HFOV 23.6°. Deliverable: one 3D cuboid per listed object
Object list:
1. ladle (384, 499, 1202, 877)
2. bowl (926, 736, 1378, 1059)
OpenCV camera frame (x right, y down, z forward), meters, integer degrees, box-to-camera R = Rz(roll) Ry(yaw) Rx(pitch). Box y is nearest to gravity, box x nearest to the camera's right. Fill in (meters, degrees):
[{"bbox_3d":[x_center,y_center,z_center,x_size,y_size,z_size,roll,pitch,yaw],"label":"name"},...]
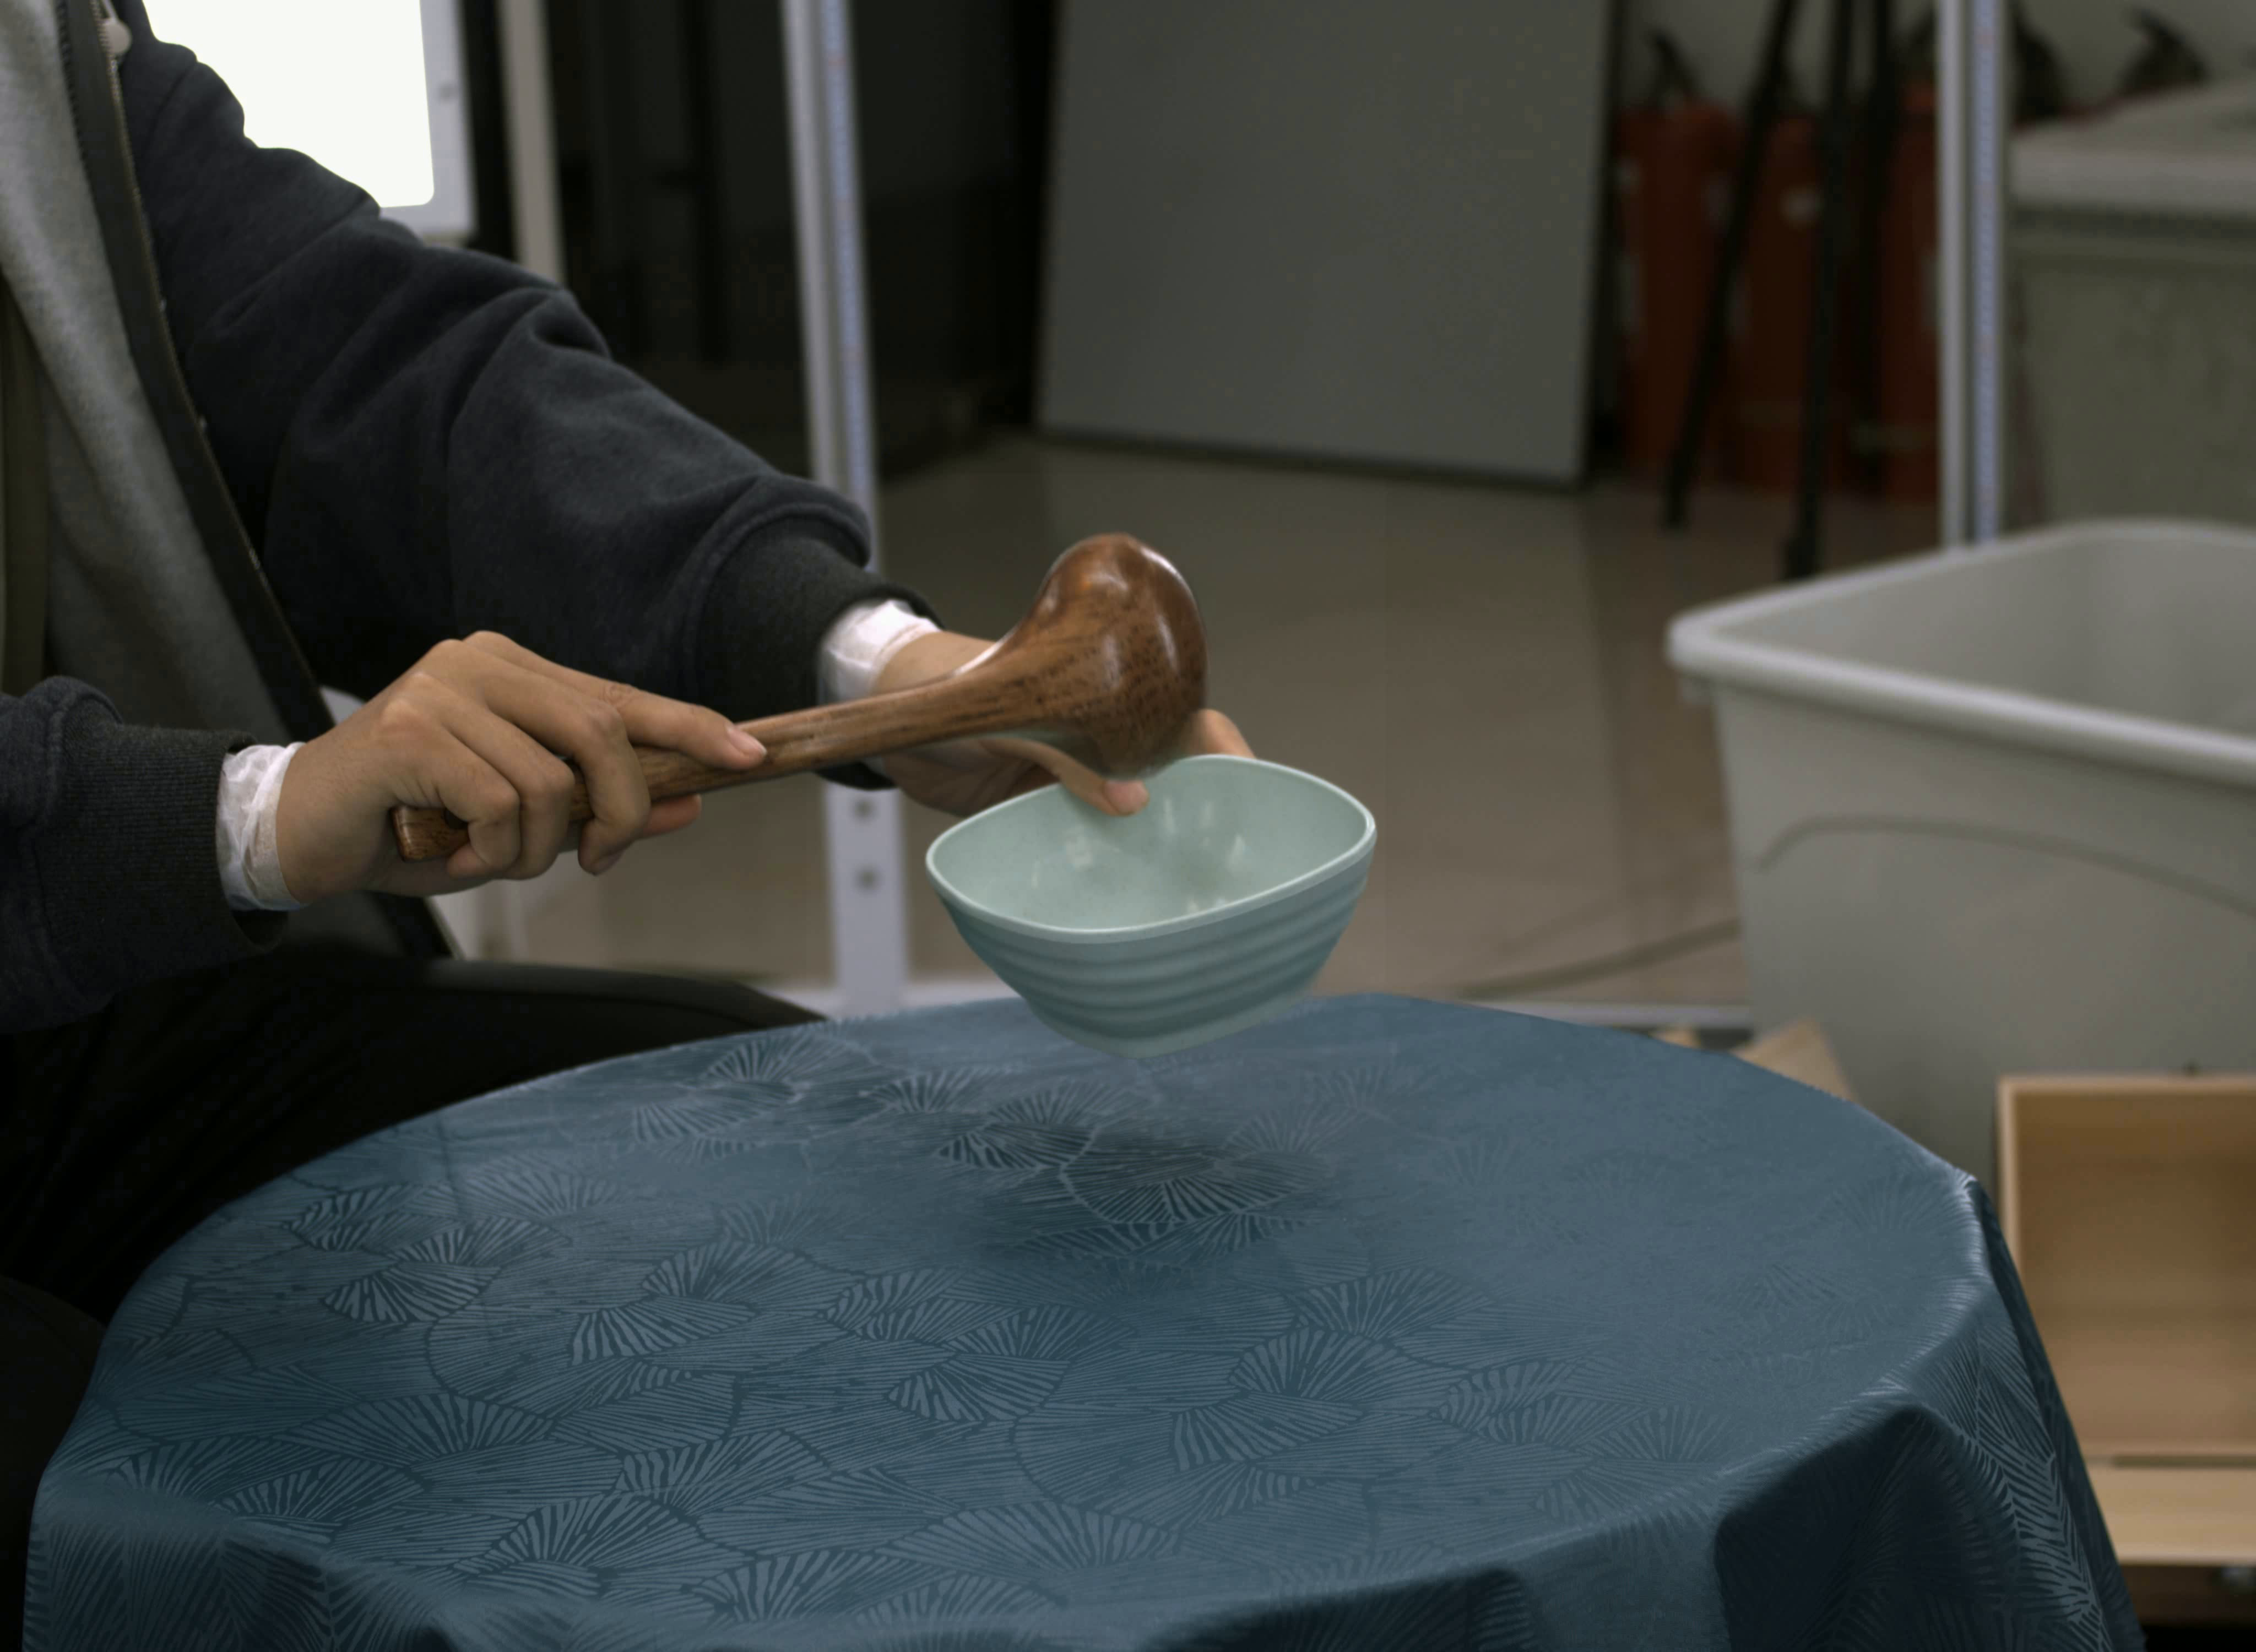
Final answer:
[{"bbox_3d":[-0.103,-0.036,1.693,0.270,0.083,0.077,-15,7,-9],"label":"ladle"},{"bbox_3d":[0.010,0.028,1.767,0.149,0.059,0.152,-6,24,2],"label":"bowl"}]
